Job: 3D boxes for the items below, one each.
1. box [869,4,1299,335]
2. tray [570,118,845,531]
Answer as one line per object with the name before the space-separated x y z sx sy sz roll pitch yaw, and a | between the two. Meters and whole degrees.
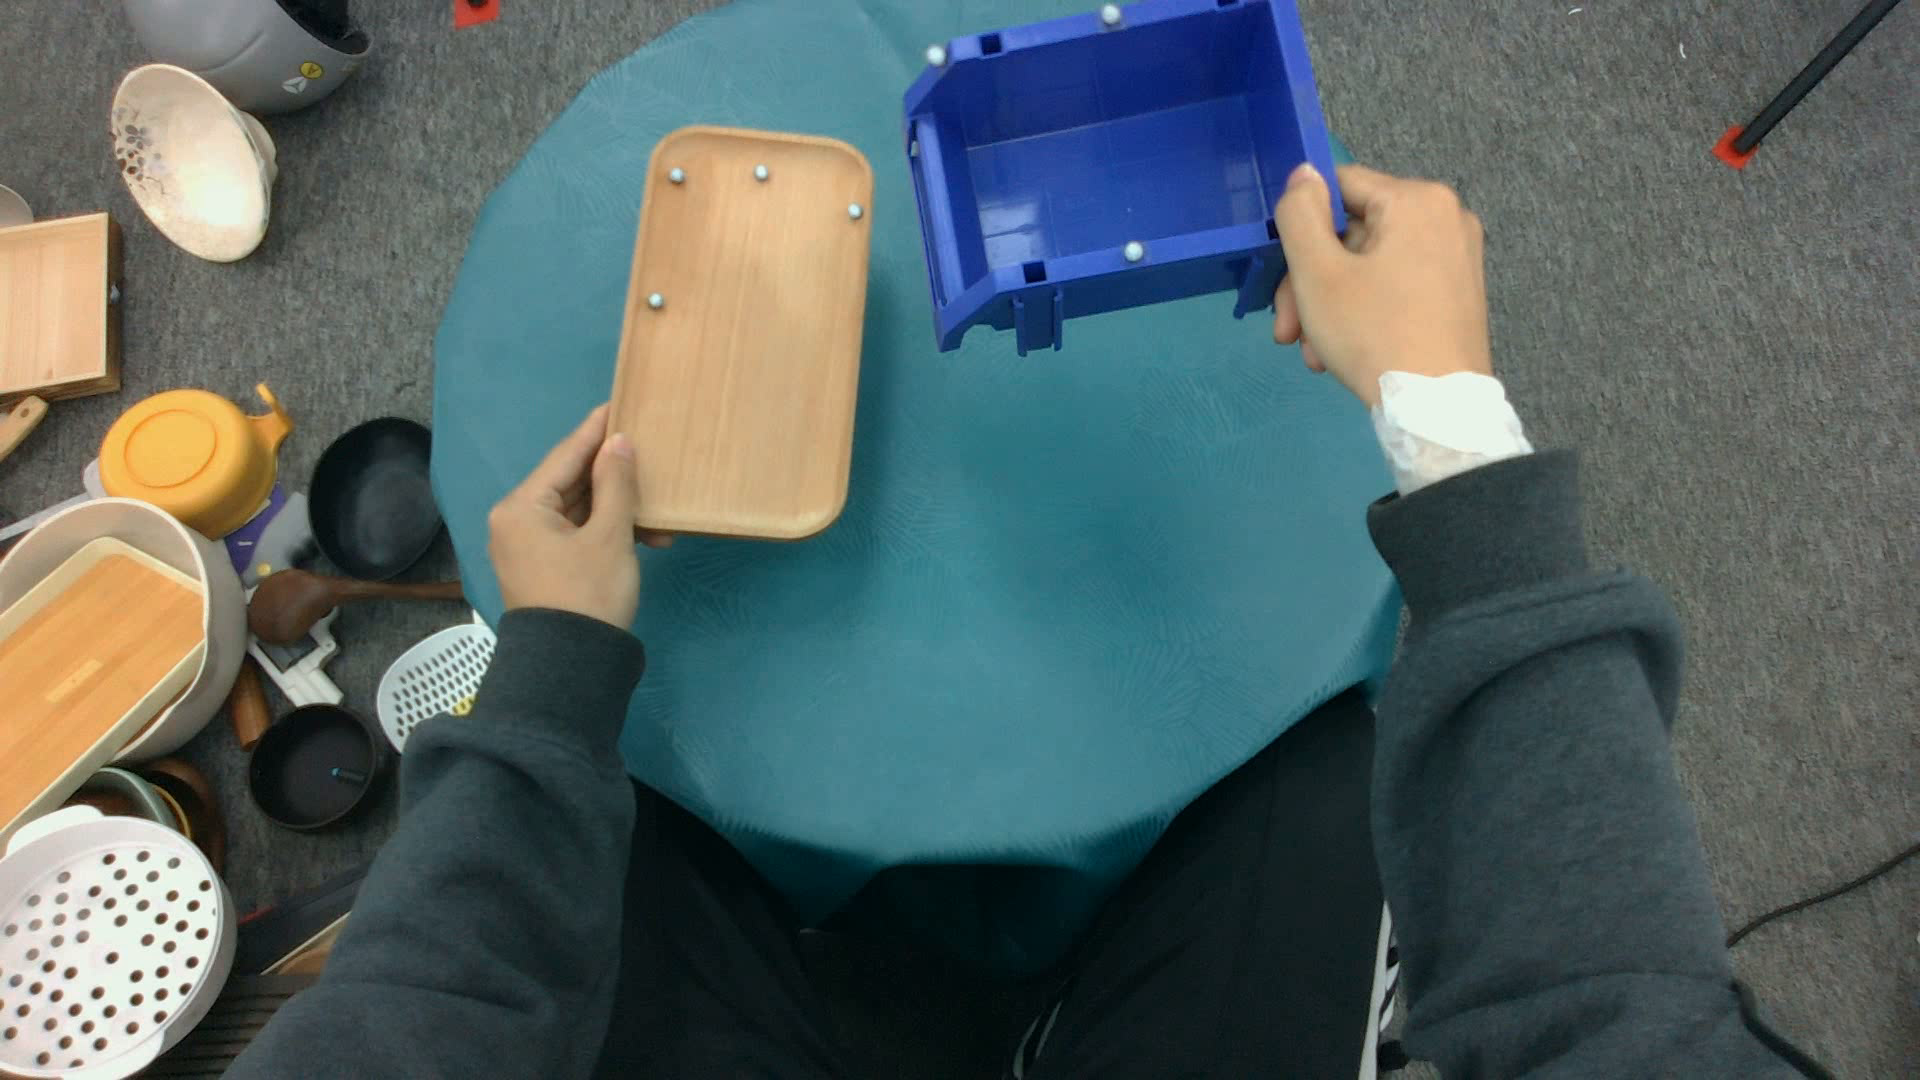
box | 0.051 -0.167 0.640 0.179 0.081 0.124 -4 78 -5
tray | -0.132 -0.122 0.749 0.130 0.023 0.251 3 68 -2
